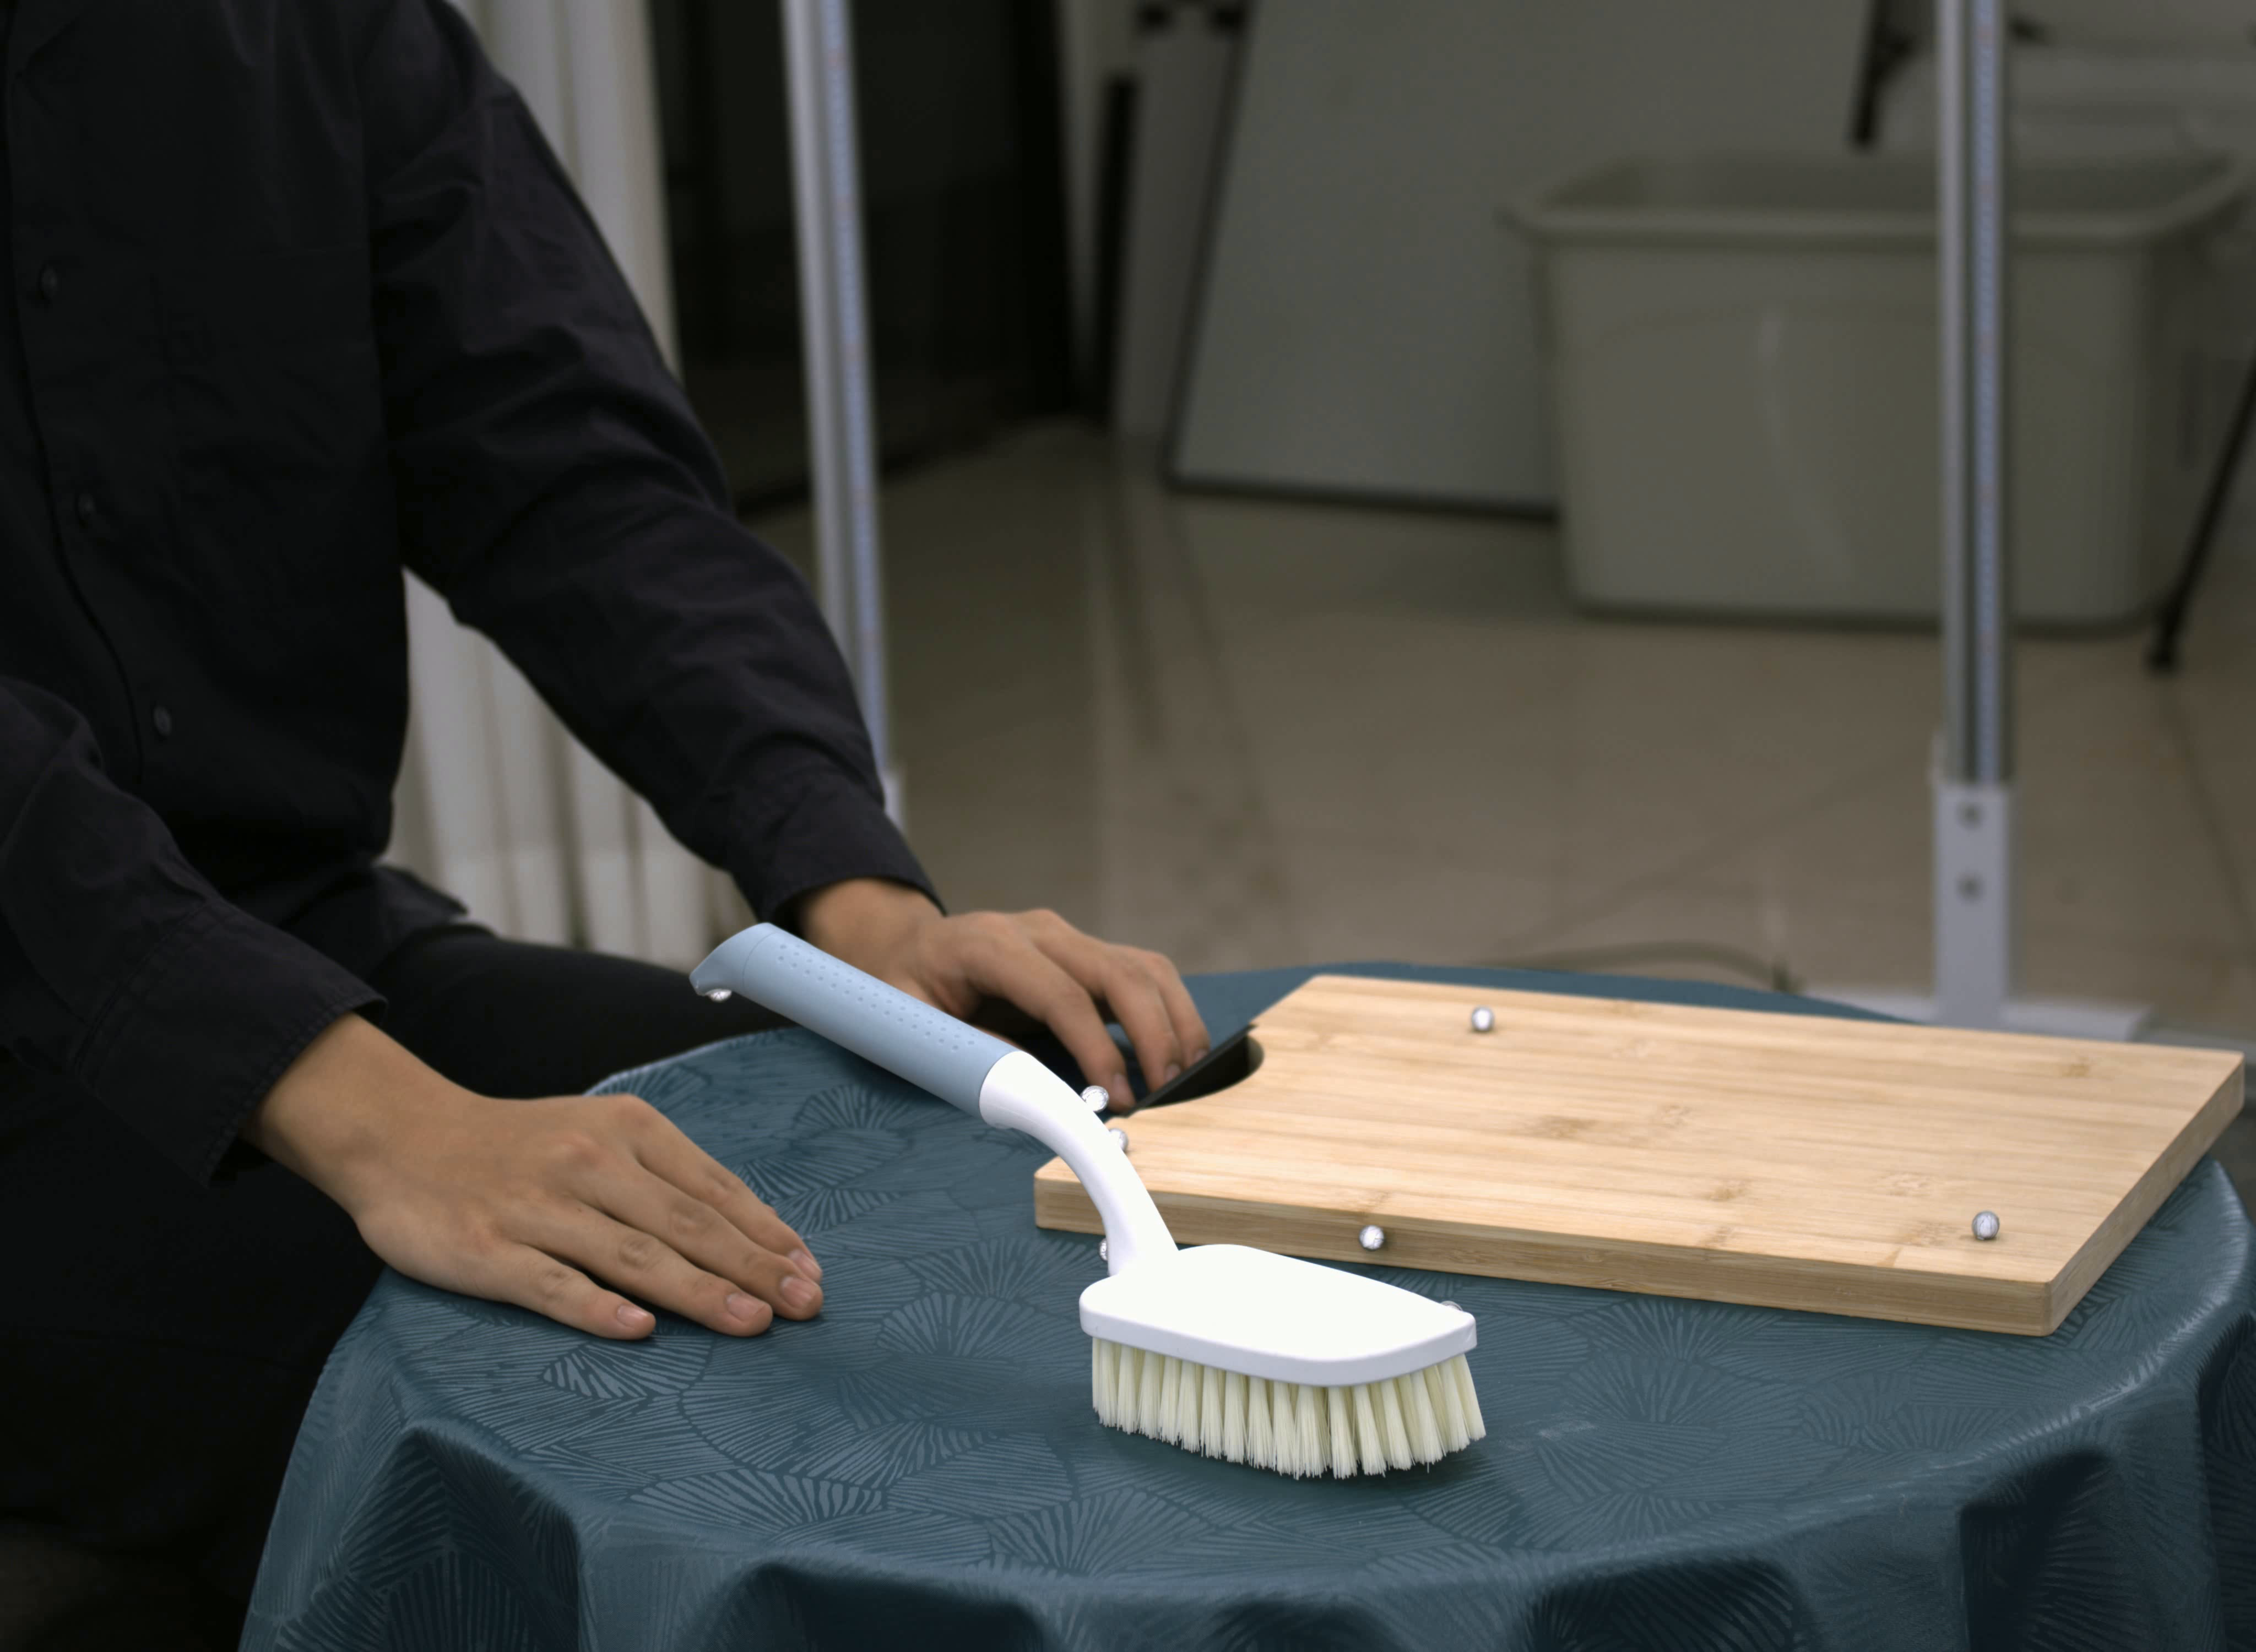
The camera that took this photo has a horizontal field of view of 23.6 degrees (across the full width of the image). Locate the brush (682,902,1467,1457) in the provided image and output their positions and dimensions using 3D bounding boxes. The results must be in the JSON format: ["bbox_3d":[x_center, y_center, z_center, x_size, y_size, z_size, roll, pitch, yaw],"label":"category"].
[{"bbox_3d":[-0.022,0.118,1.613,0.328,0.085,0.082,25,-8,40],"label":"brush"}]

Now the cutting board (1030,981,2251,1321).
[{"bbox_3d":[0.171,0.102,1.764,0.349,0.024,0.247,3,15,25],"label":"cutting board"}]
